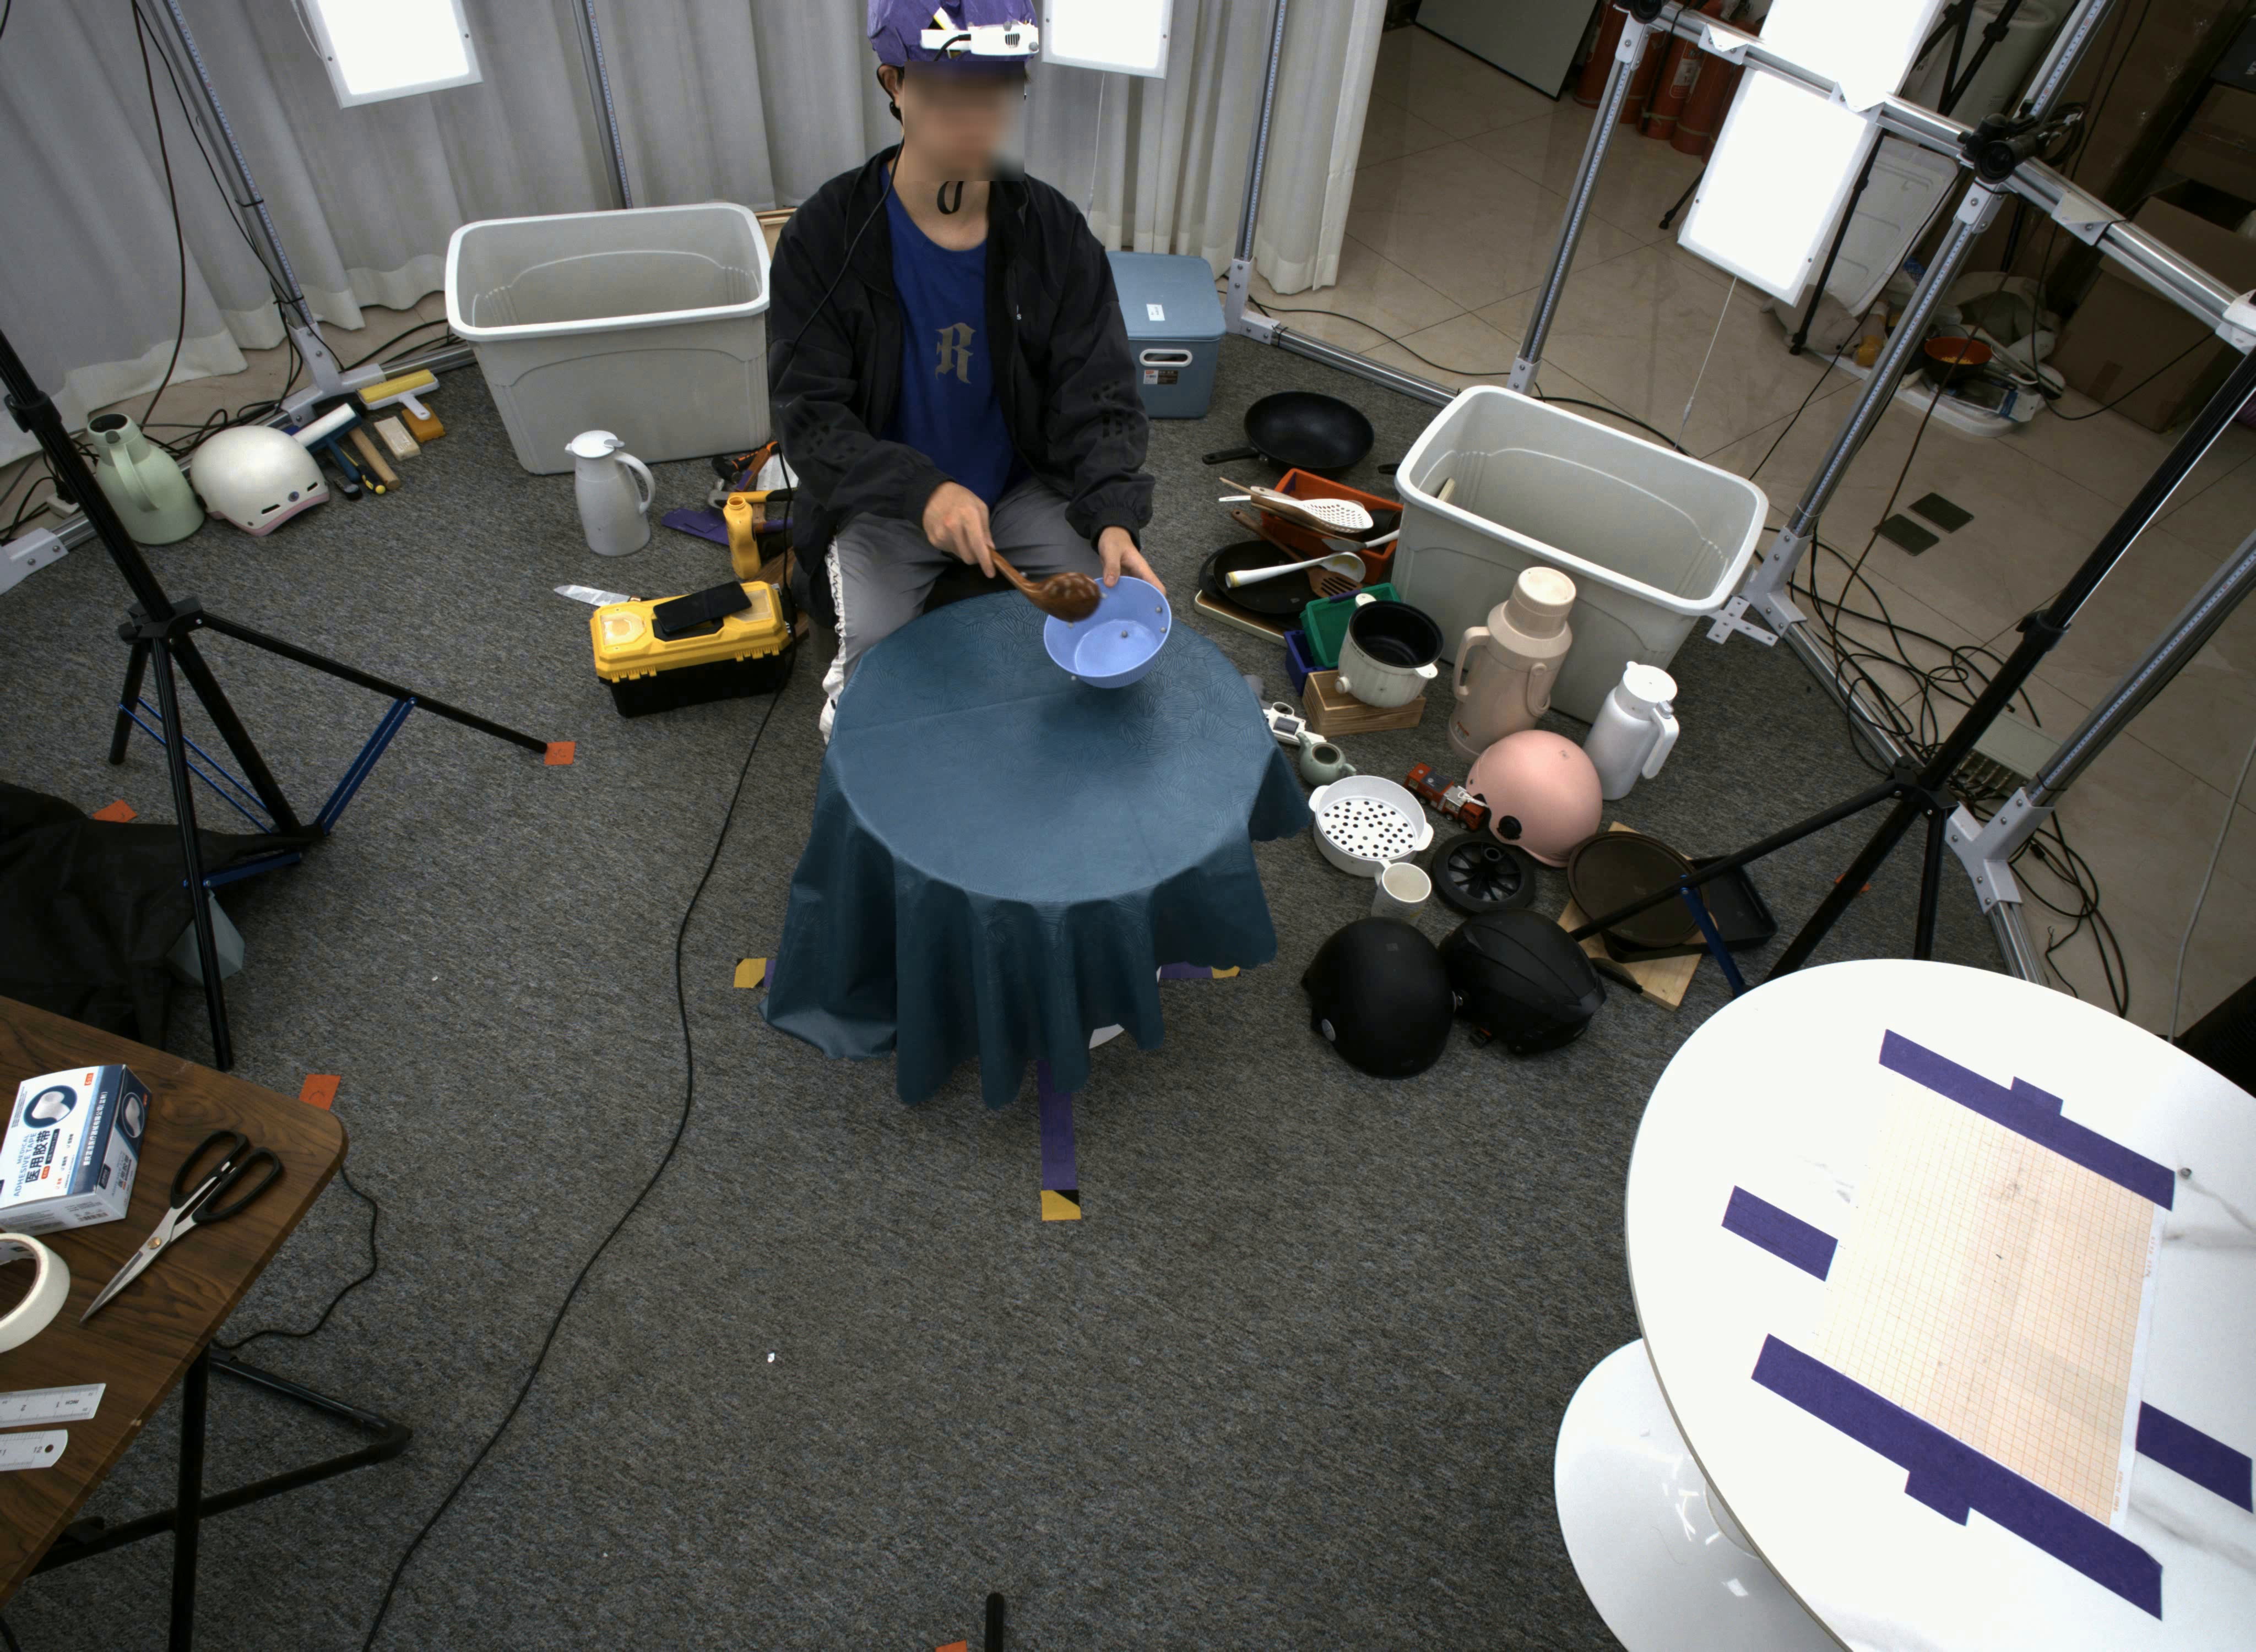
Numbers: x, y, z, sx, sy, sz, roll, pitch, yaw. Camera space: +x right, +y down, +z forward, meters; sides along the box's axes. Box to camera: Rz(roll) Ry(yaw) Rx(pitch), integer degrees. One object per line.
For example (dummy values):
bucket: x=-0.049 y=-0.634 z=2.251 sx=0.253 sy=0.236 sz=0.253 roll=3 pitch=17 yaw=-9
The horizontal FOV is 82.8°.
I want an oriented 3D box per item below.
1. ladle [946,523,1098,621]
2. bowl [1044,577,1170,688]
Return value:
ladle: x=-0.143 y=-0.359 z=1.735 sx=0.077 sy=0.080 sz=0.279 roll=-33 pitch=51 yaw=-18
bowl: x=-0.023 y=-0.257 z=1.769 sx=0.176 sy=0.068 sz=0.180 roll=-6 pitch=56 yaw=9
